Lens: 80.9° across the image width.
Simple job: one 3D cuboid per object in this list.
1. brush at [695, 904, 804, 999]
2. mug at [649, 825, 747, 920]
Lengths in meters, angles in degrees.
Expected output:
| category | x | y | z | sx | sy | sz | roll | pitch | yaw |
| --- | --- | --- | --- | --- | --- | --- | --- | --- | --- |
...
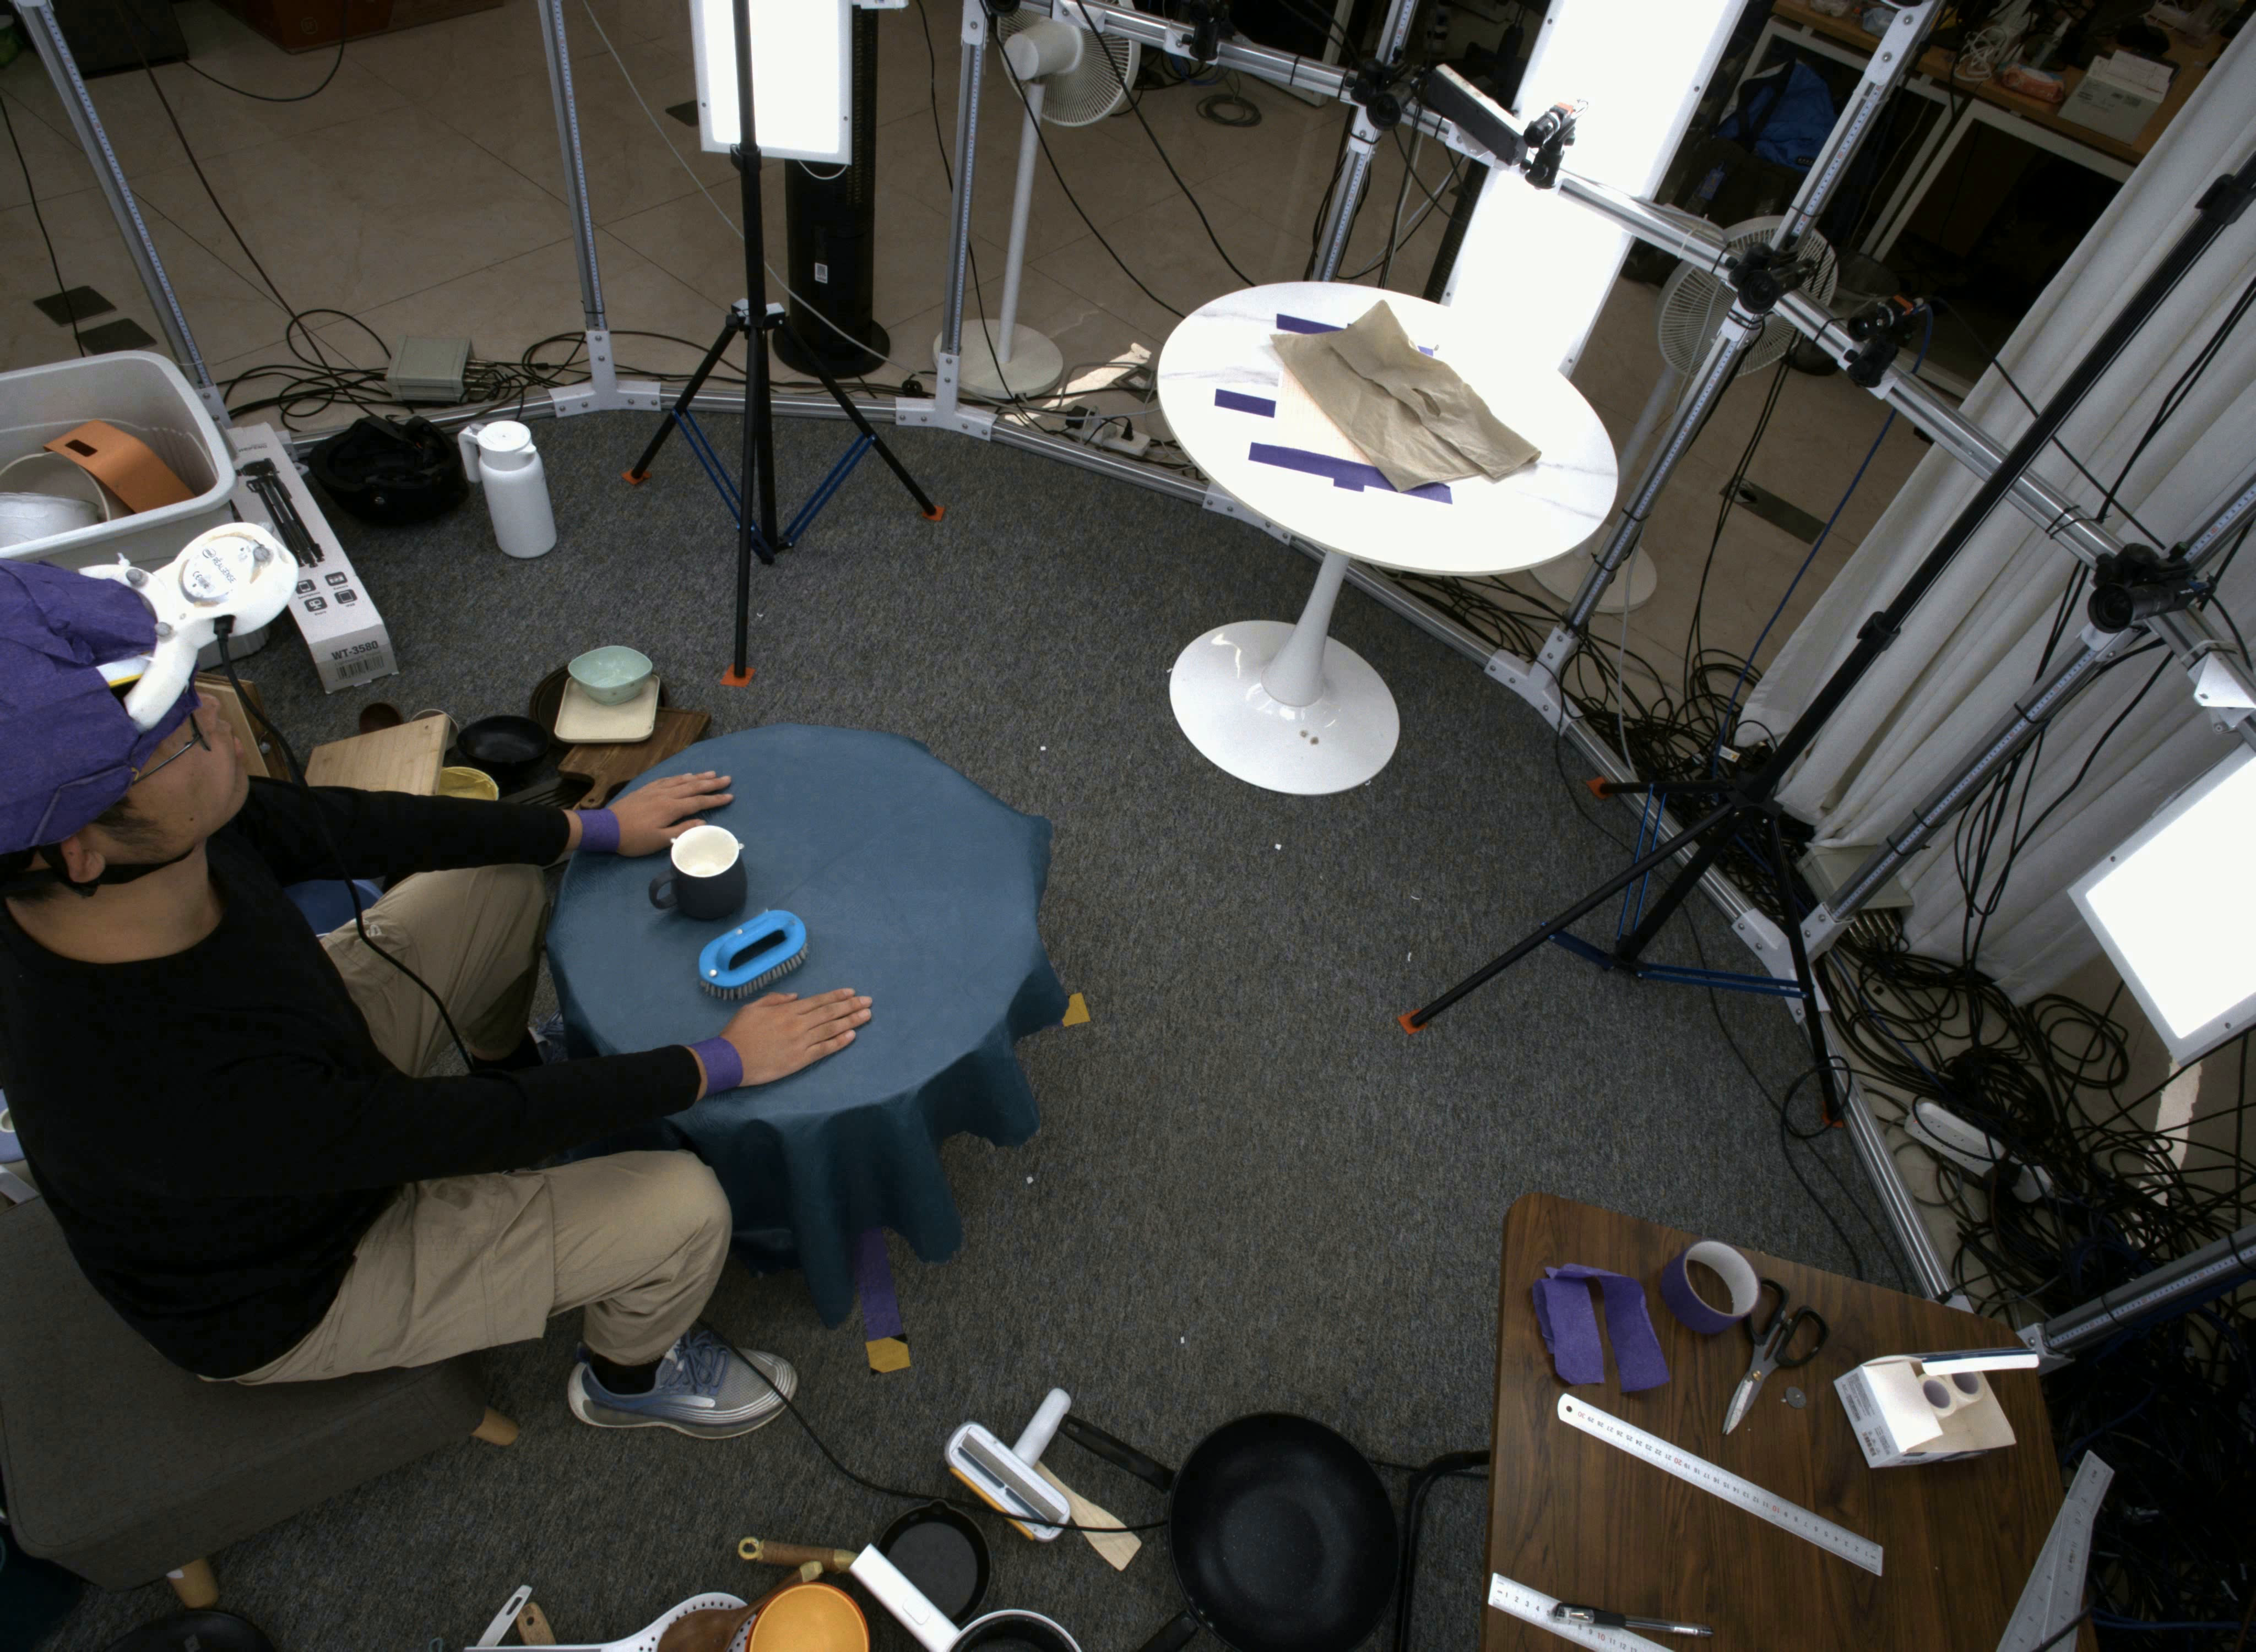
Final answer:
| category | x | y | z | sx | sy | sz | roll | pitch | yaw |
| --- | --- | --- | --- | --- | --- | --- | --- | --- | --- |
| brush | -0.457 | 0.144 | 1.570 | 0.142 | 0.065 | 0.083 | -31 | 70 | -30 |
| mug | -0.534 | 0.060 | 1.594 | 0.124 | 0.092 | 0.091 | -24 | 61 | -30 |
